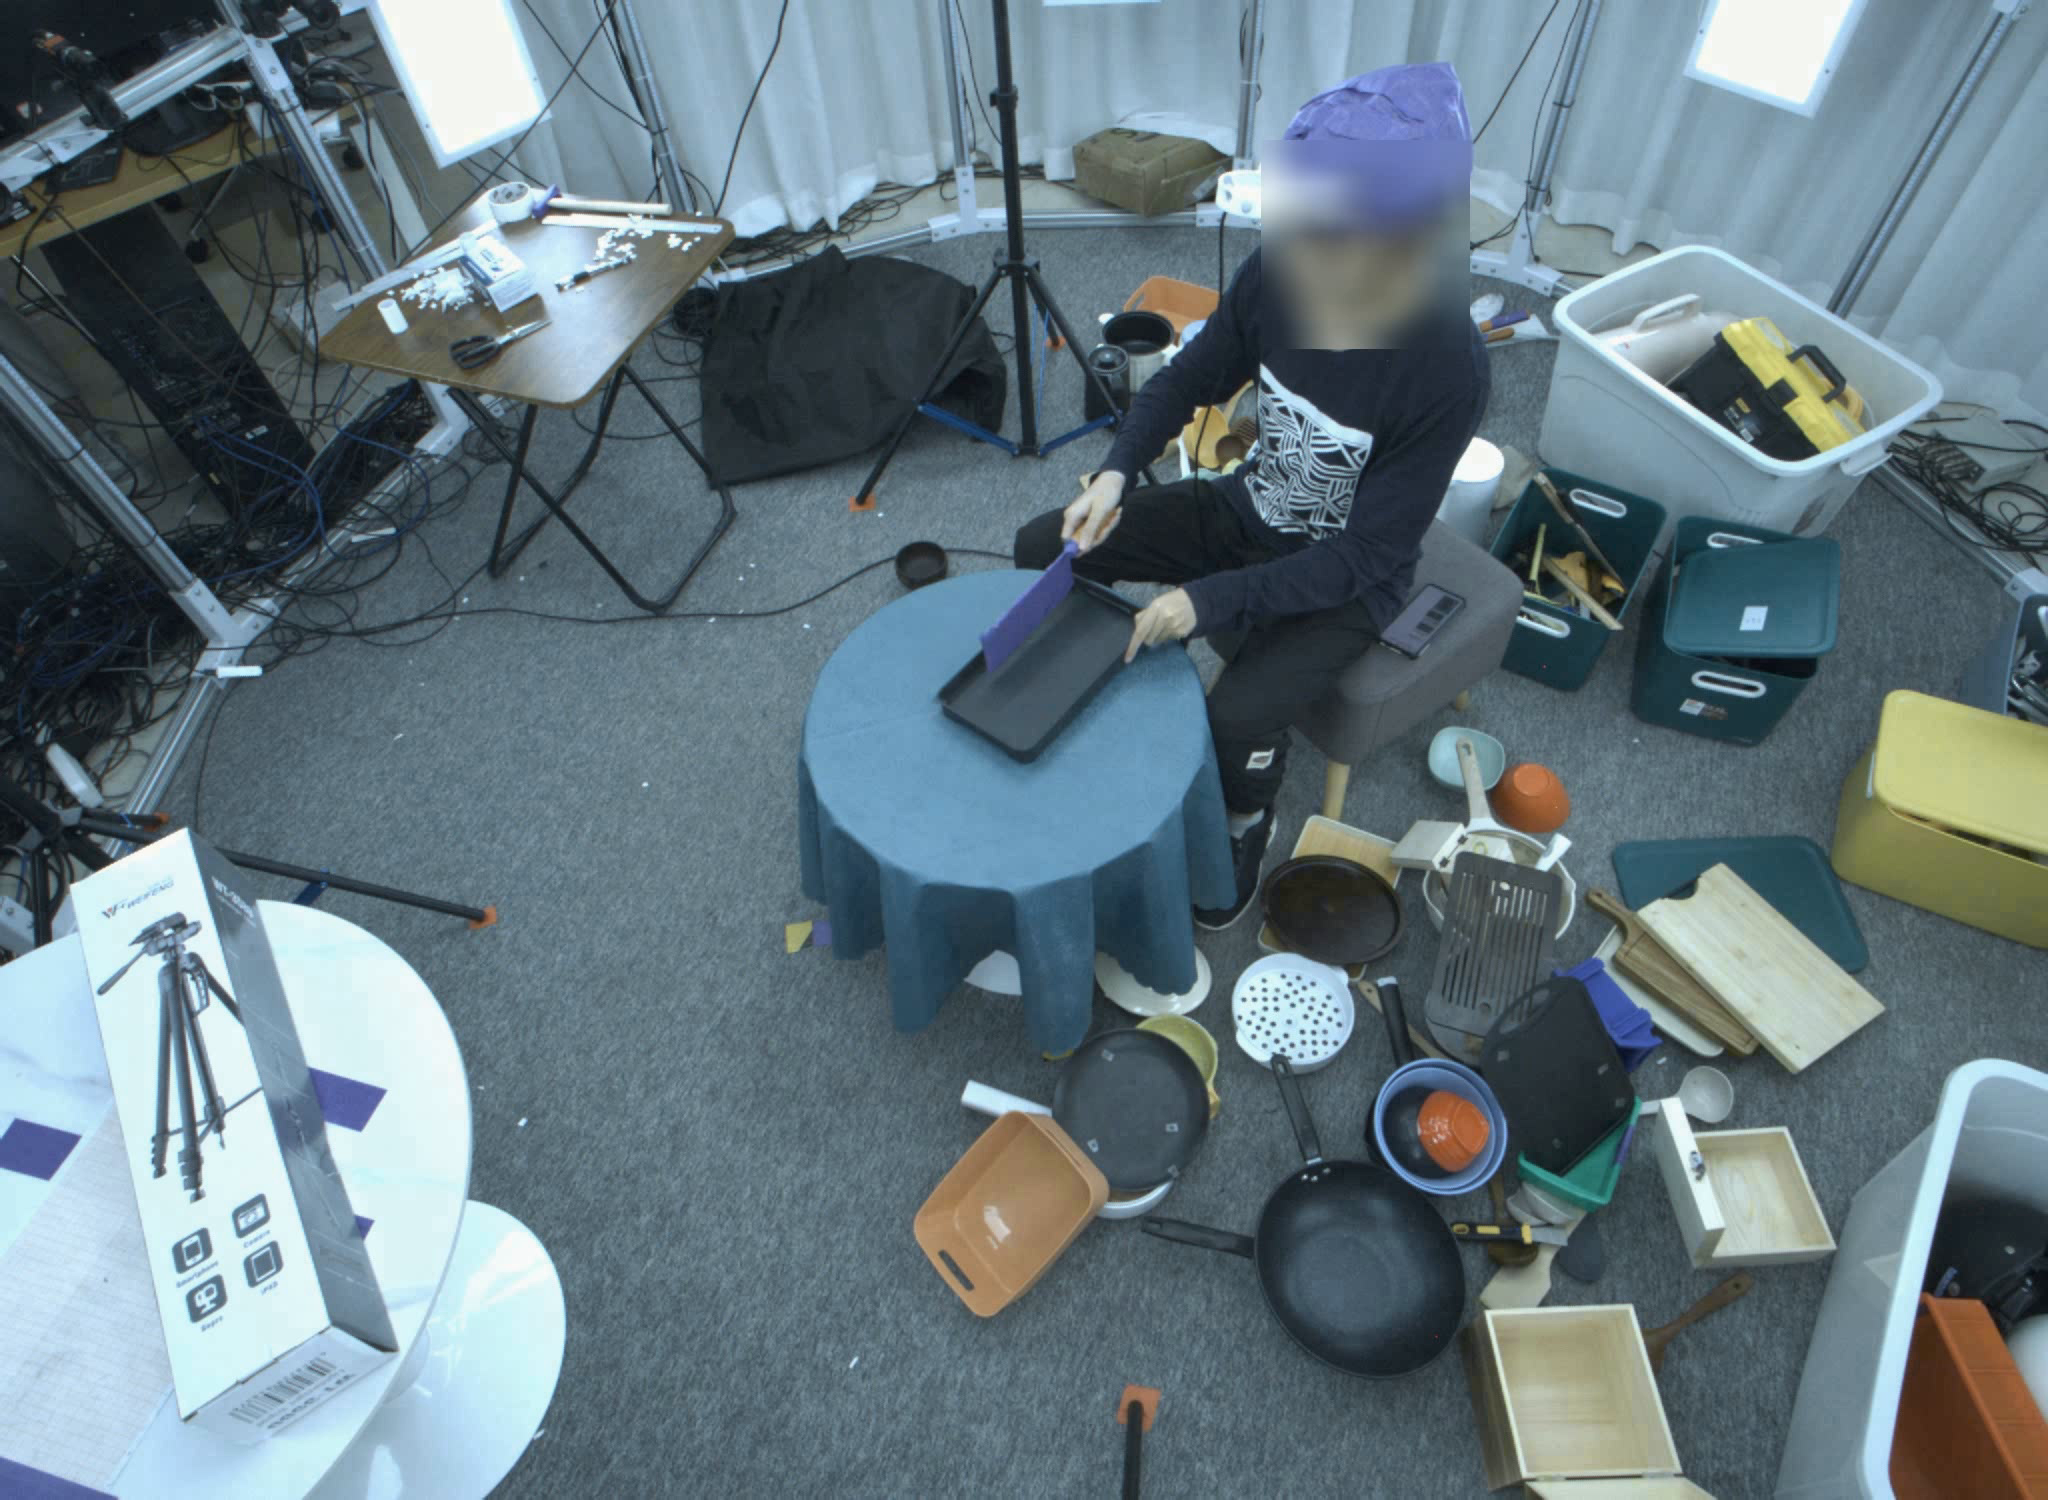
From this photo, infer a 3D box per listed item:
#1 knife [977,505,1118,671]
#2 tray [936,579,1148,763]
[{"bbox_3d":[0.036,-0.247,1.867,0.031,0.105,0.316,35,69,24],"label":"knife"},{"bbox_3d":[0.031,-0.127,1.856,0.181,0.037,0.319,30,61,24],"label":"tray"}]
